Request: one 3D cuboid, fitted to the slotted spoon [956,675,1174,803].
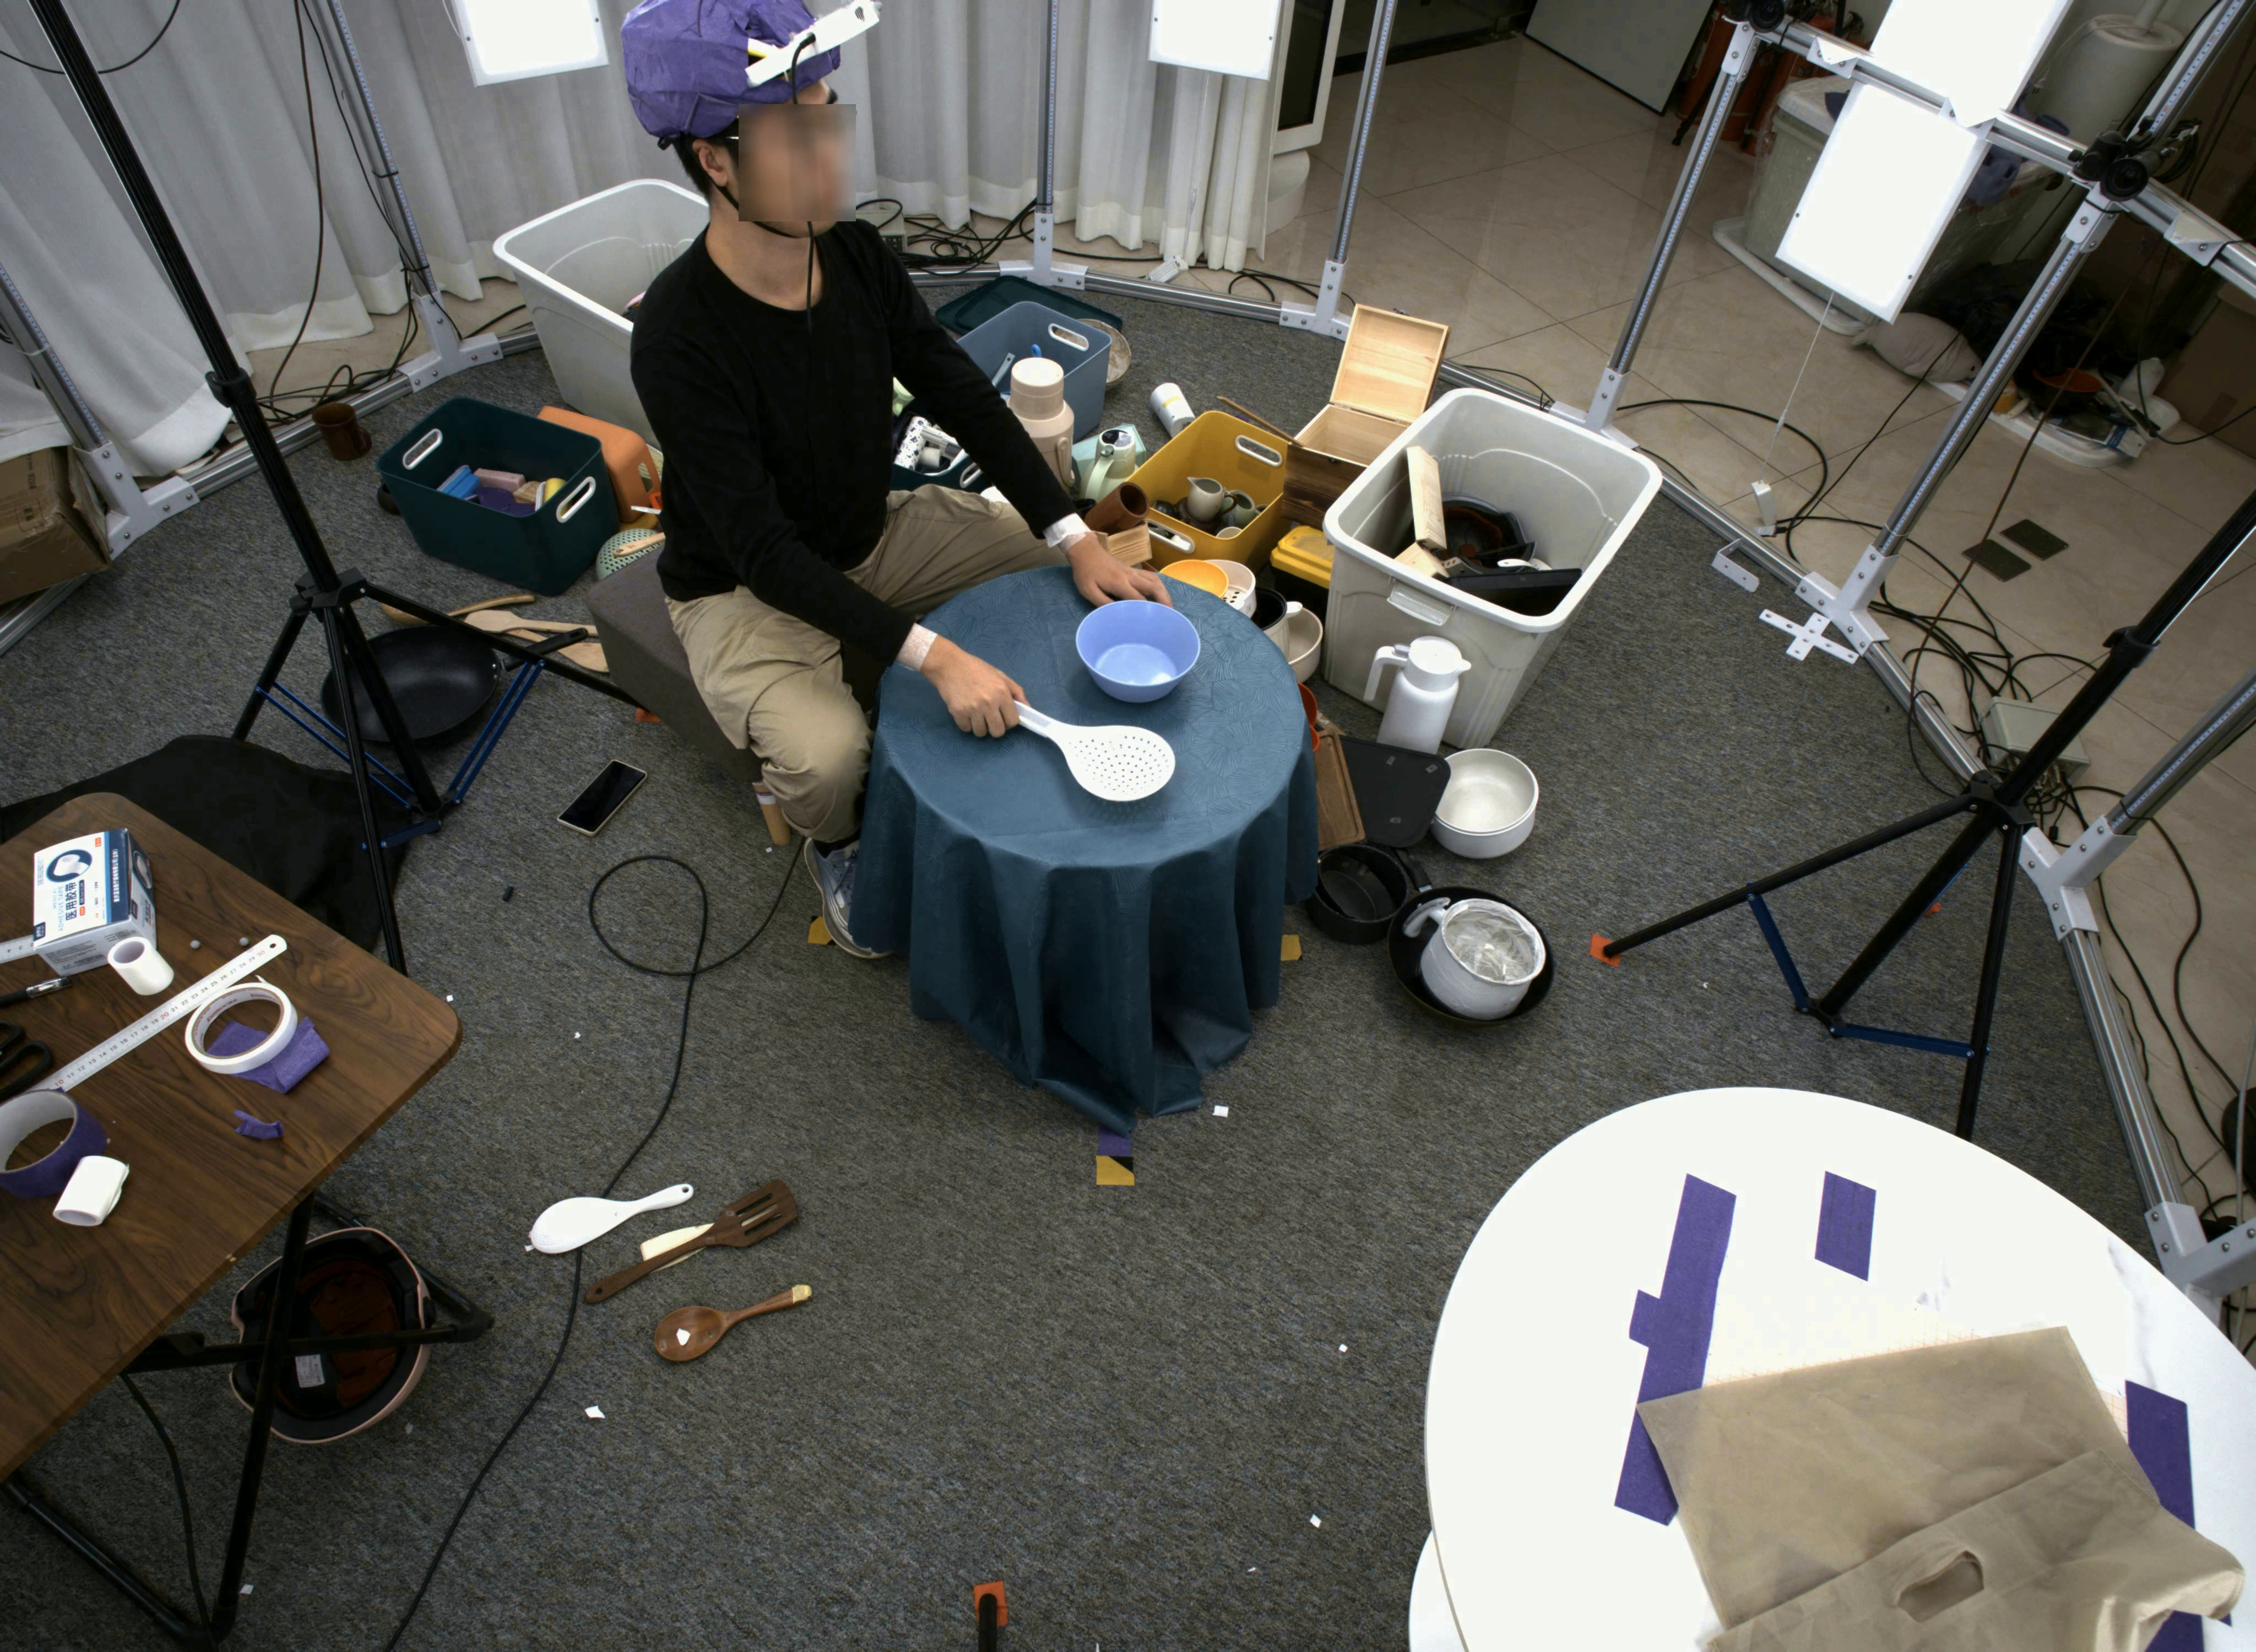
[{"bbox_3d":[-0.095,-0.126,1.740,0.353,0.044,0.138,31,56,21],"label":"slotted spoon"}]

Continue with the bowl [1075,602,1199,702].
[{"bbox_3d":[0.012,-0.240,1.834,0.176,0.068,0.180,1,49,-2],"label":"bowl"}]
